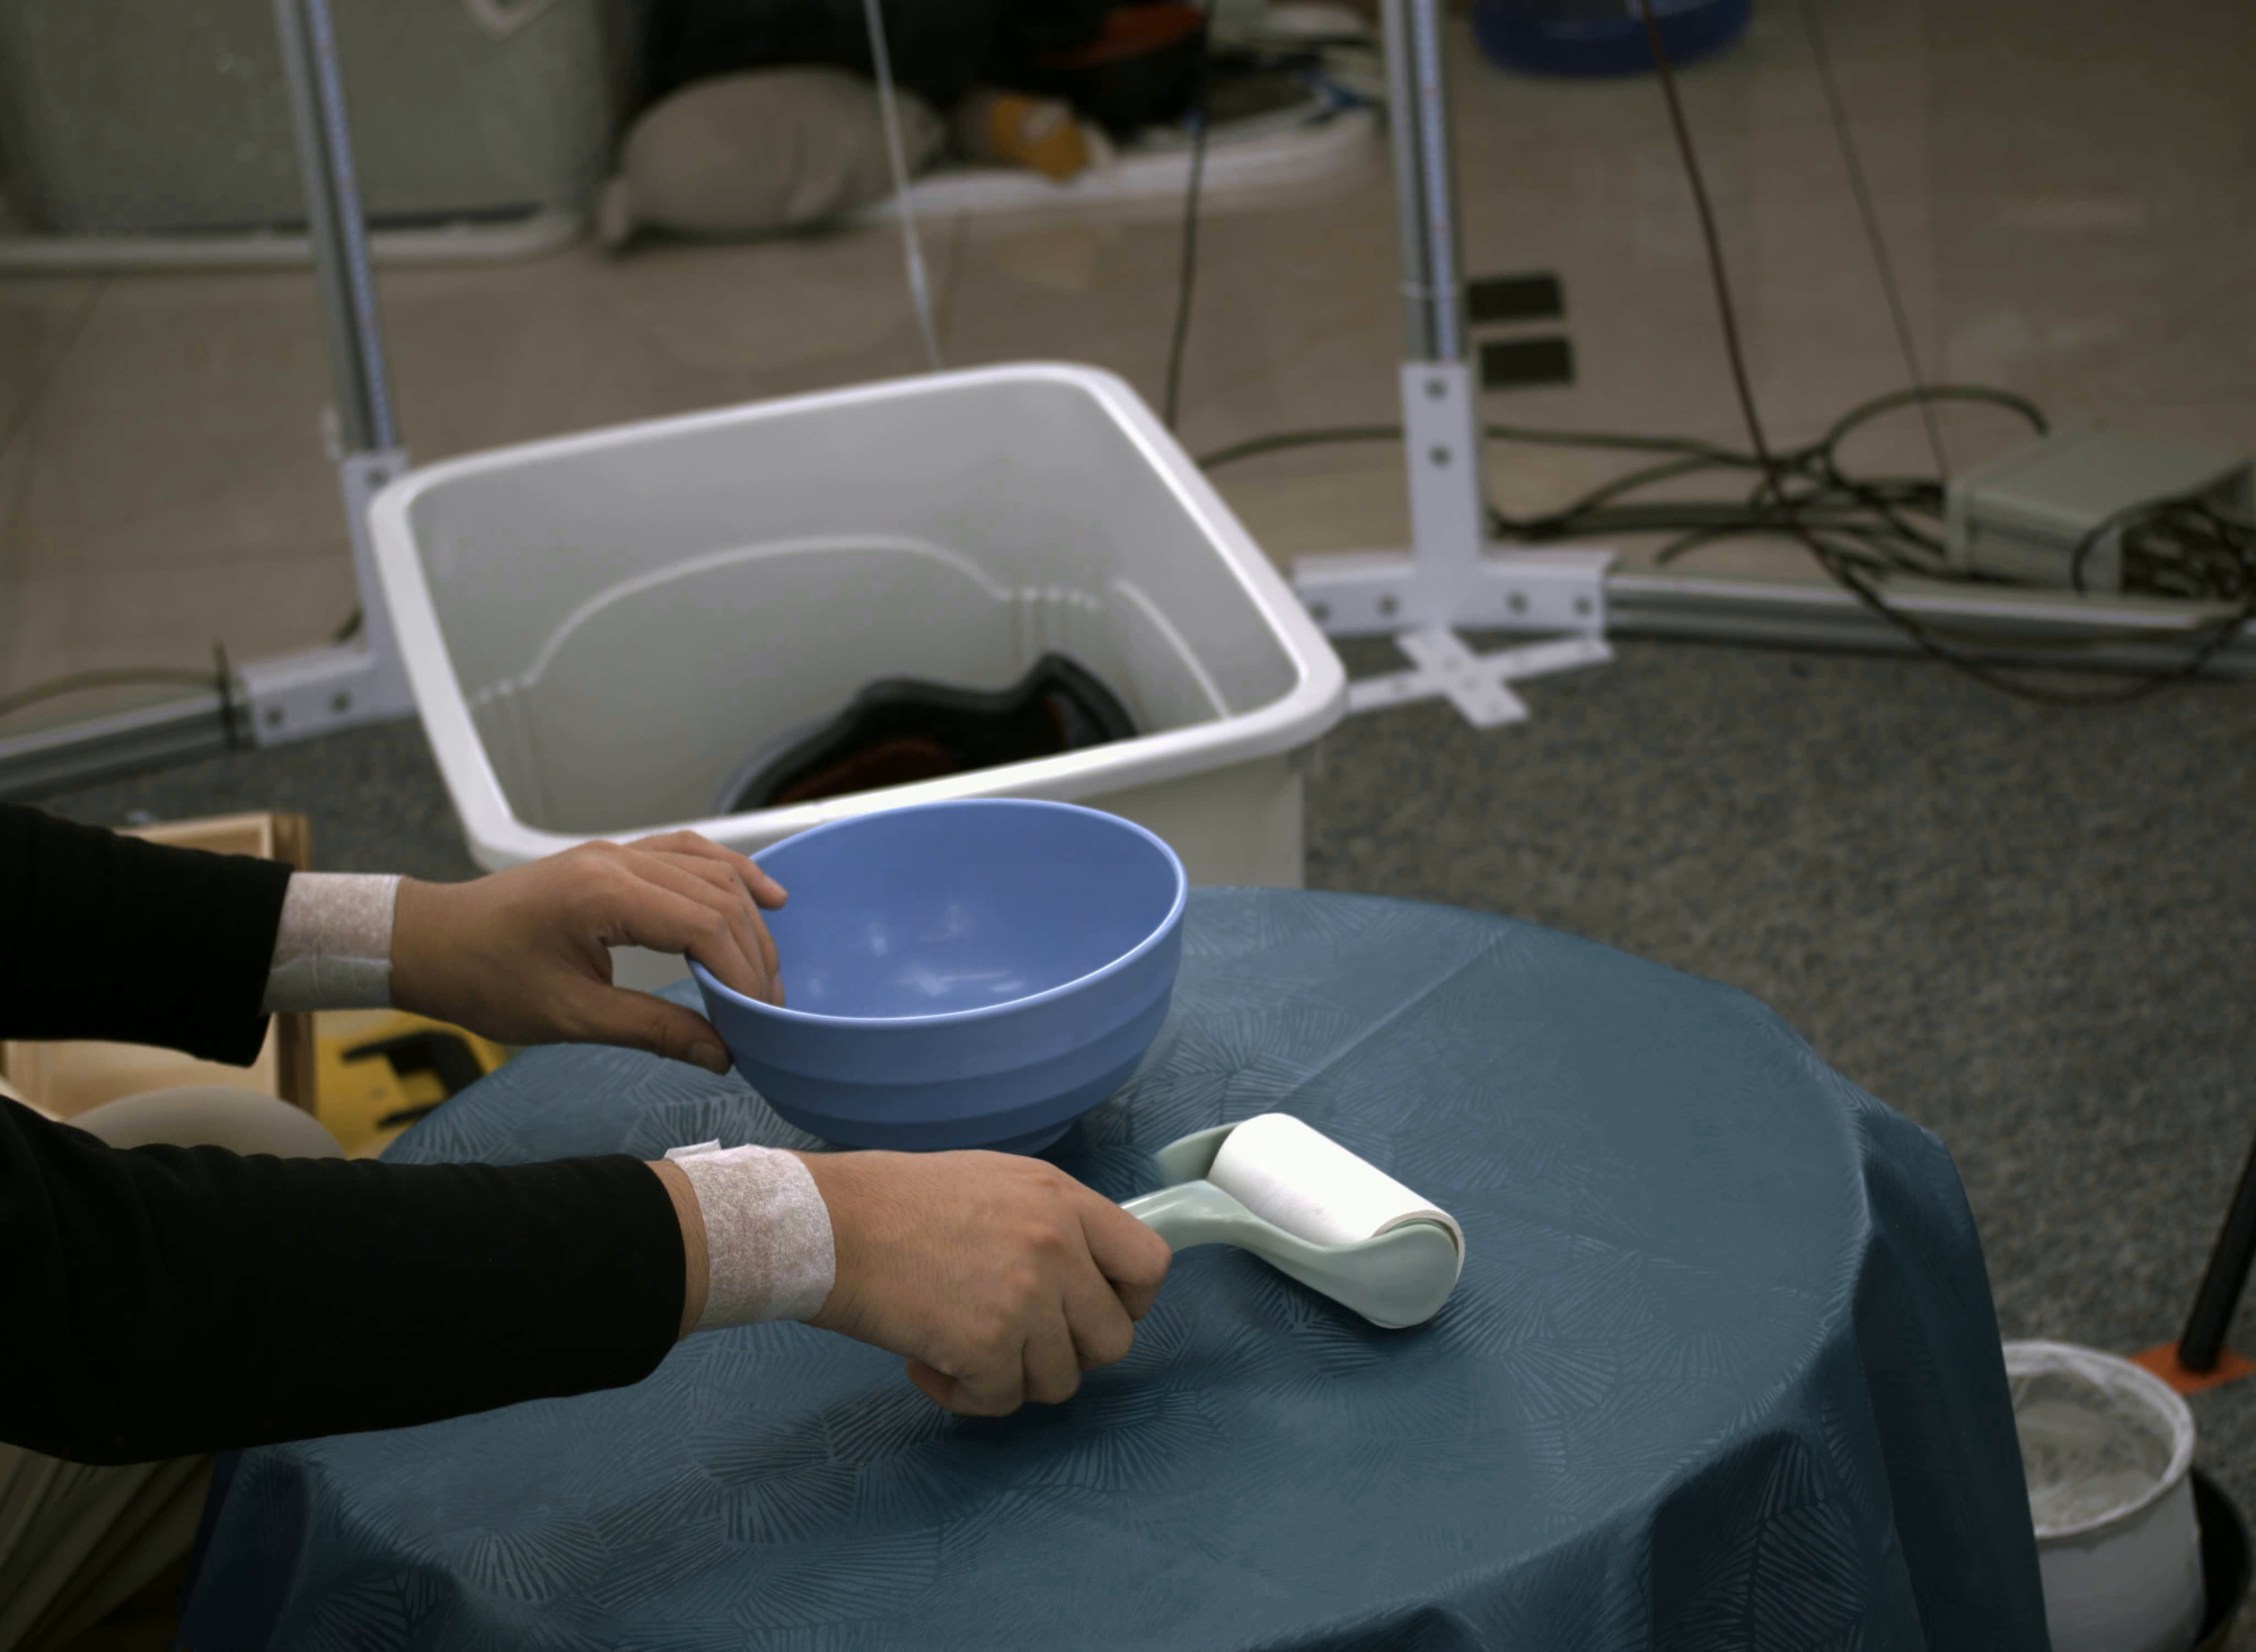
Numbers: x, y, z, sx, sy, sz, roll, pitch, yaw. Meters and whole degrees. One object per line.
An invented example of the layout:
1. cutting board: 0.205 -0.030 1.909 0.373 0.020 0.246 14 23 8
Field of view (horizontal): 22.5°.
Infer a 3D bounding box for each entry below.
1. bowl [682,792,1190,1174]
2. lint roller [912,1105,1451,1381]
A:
1. bowl: -0.070 0.072 2.194 0.196 0.097 0.193 -4 26 2
2. lint roller: 0.008 0.153 2.035 0.197 0.049 0.115 -11 25 -30
